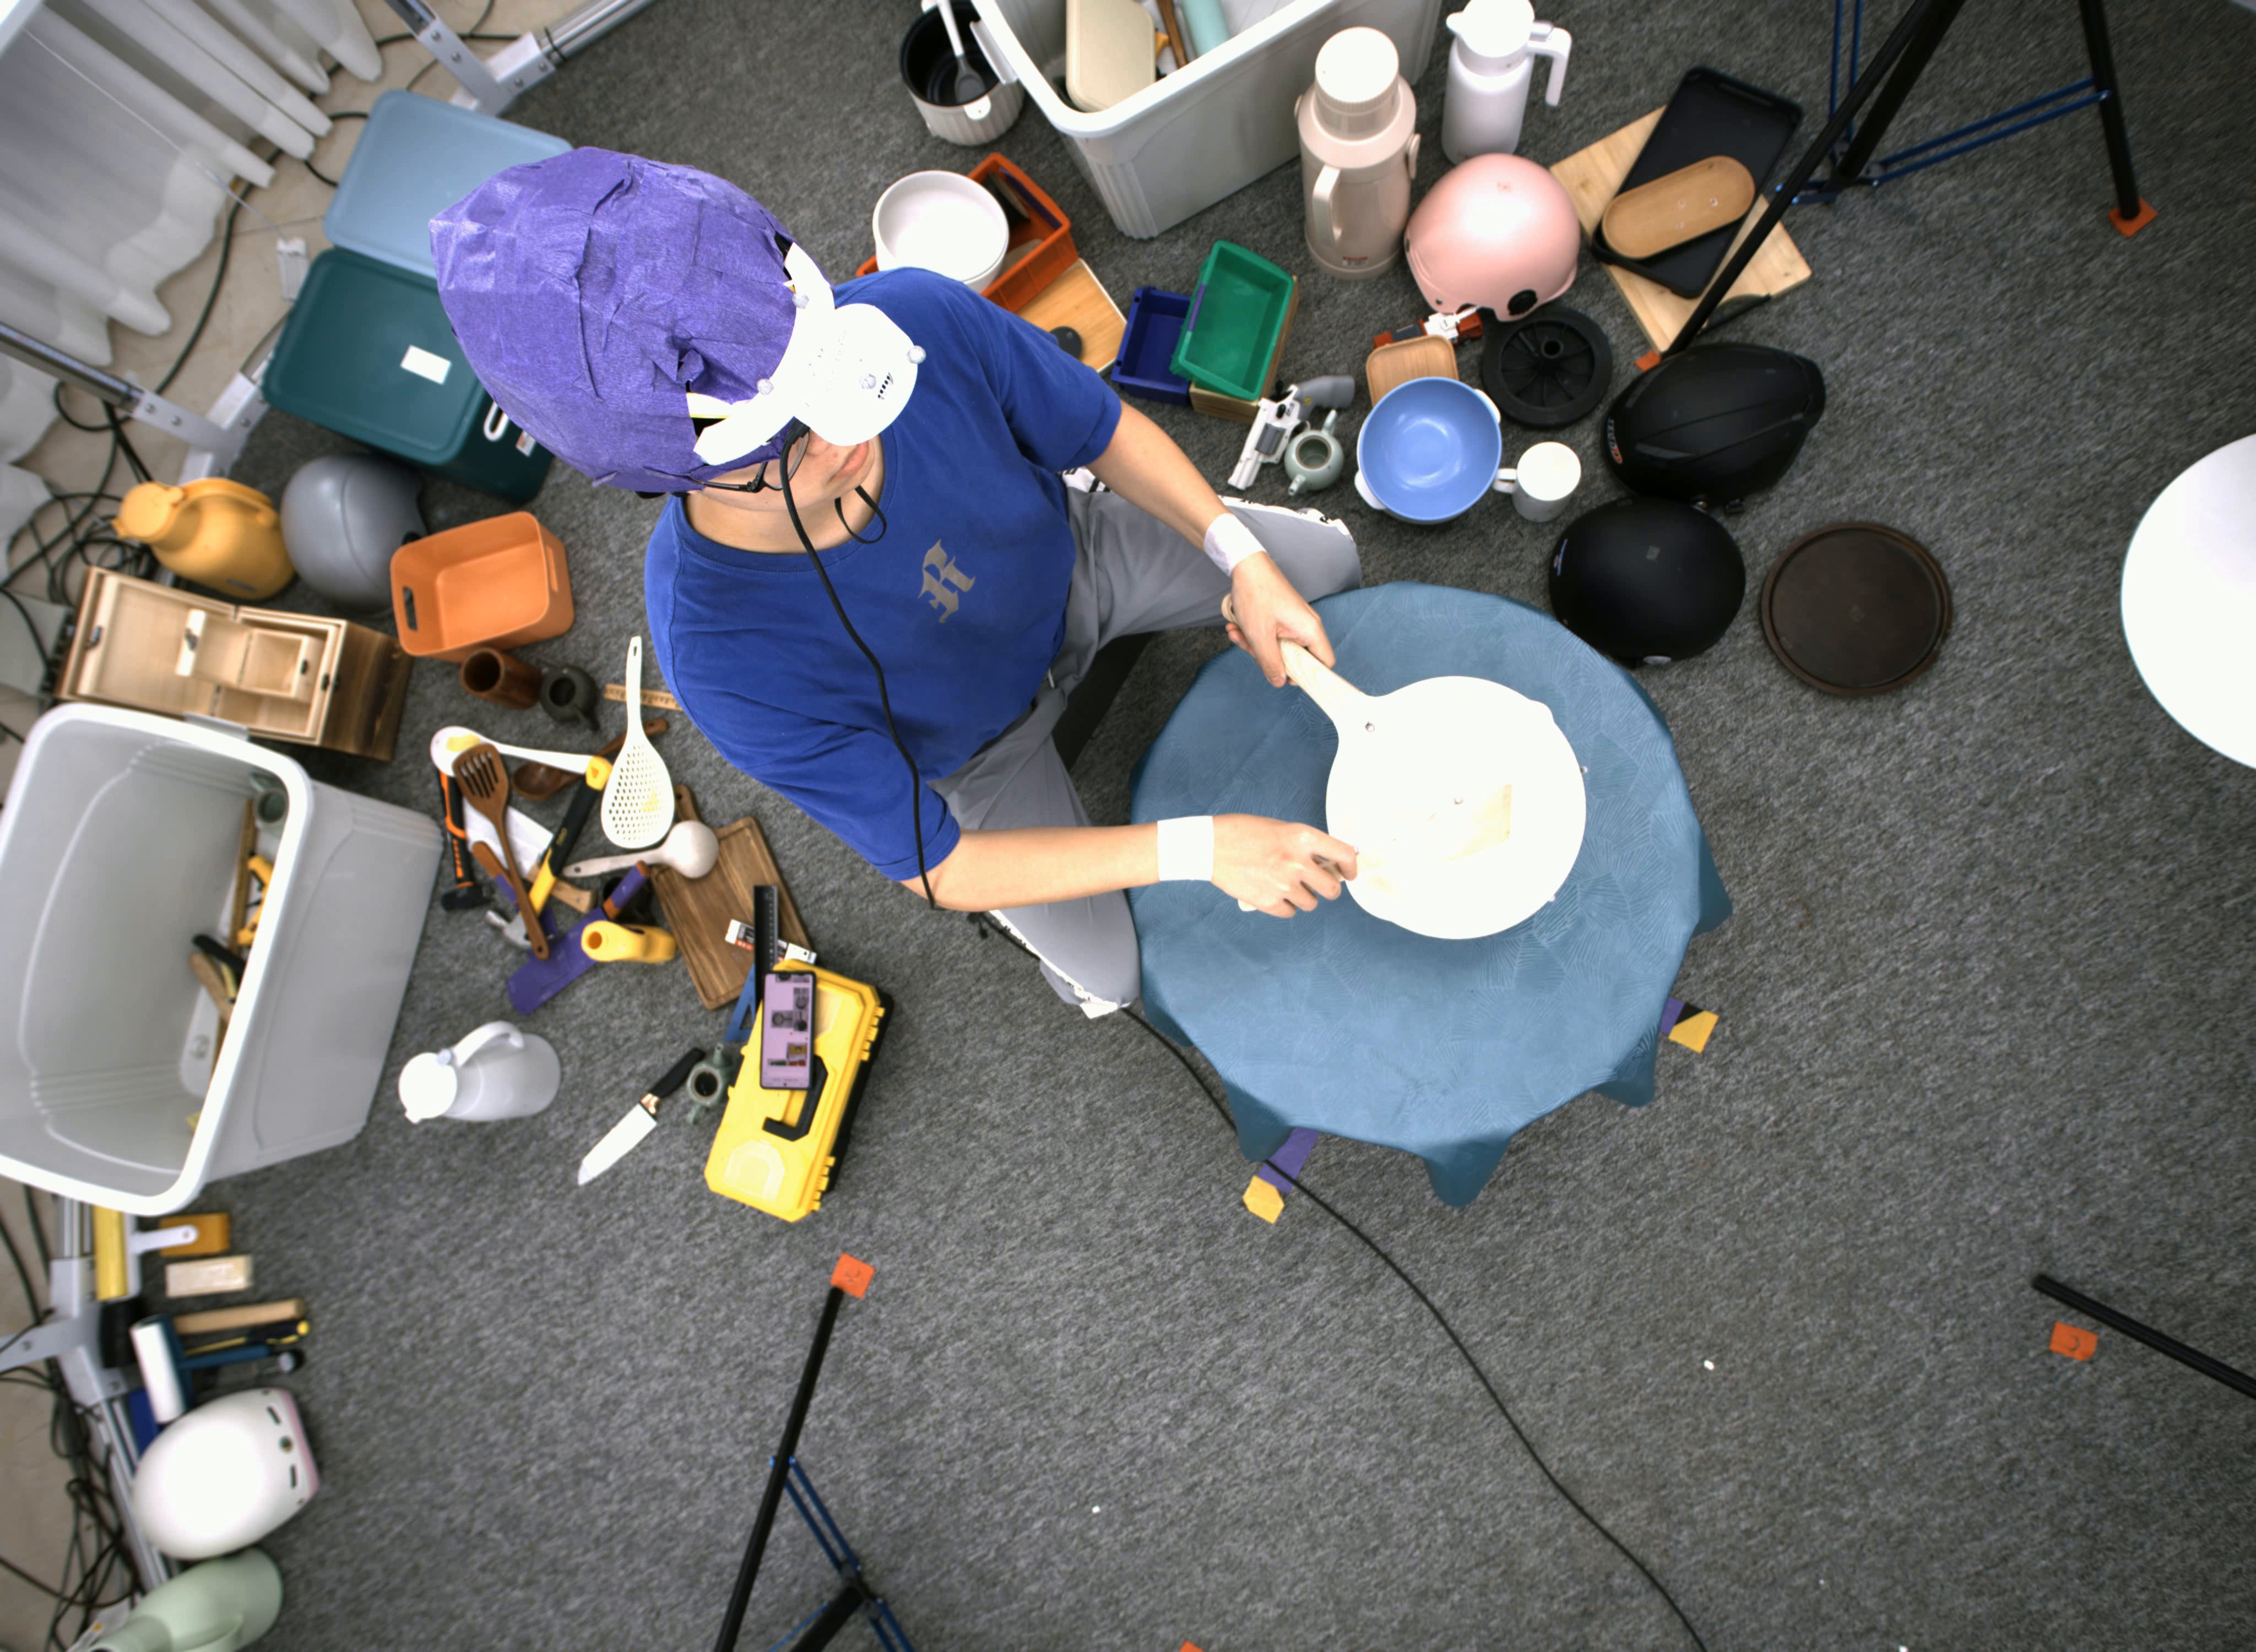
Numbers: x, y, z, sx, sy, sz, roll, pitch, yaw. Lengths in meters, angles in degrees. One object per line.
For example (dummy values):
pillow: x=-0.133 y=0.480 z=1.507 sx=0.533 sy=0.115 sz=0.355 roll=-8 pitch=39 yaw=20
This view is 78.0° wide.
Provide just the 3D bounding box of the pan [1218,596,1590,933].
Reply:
pan: x=0.265 y=-0.088 z=1.367 sx=0.431 sy=0.101 sz=0.268 roll=45 pitch=116 yaw=17

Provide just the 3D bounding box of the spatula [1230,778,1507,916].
spatula: x=0.232 y=0.026 z=1.317 sx=0.292 sy=0.074 sz=0.010 roll=-20 pitch=42 yaw=-5
